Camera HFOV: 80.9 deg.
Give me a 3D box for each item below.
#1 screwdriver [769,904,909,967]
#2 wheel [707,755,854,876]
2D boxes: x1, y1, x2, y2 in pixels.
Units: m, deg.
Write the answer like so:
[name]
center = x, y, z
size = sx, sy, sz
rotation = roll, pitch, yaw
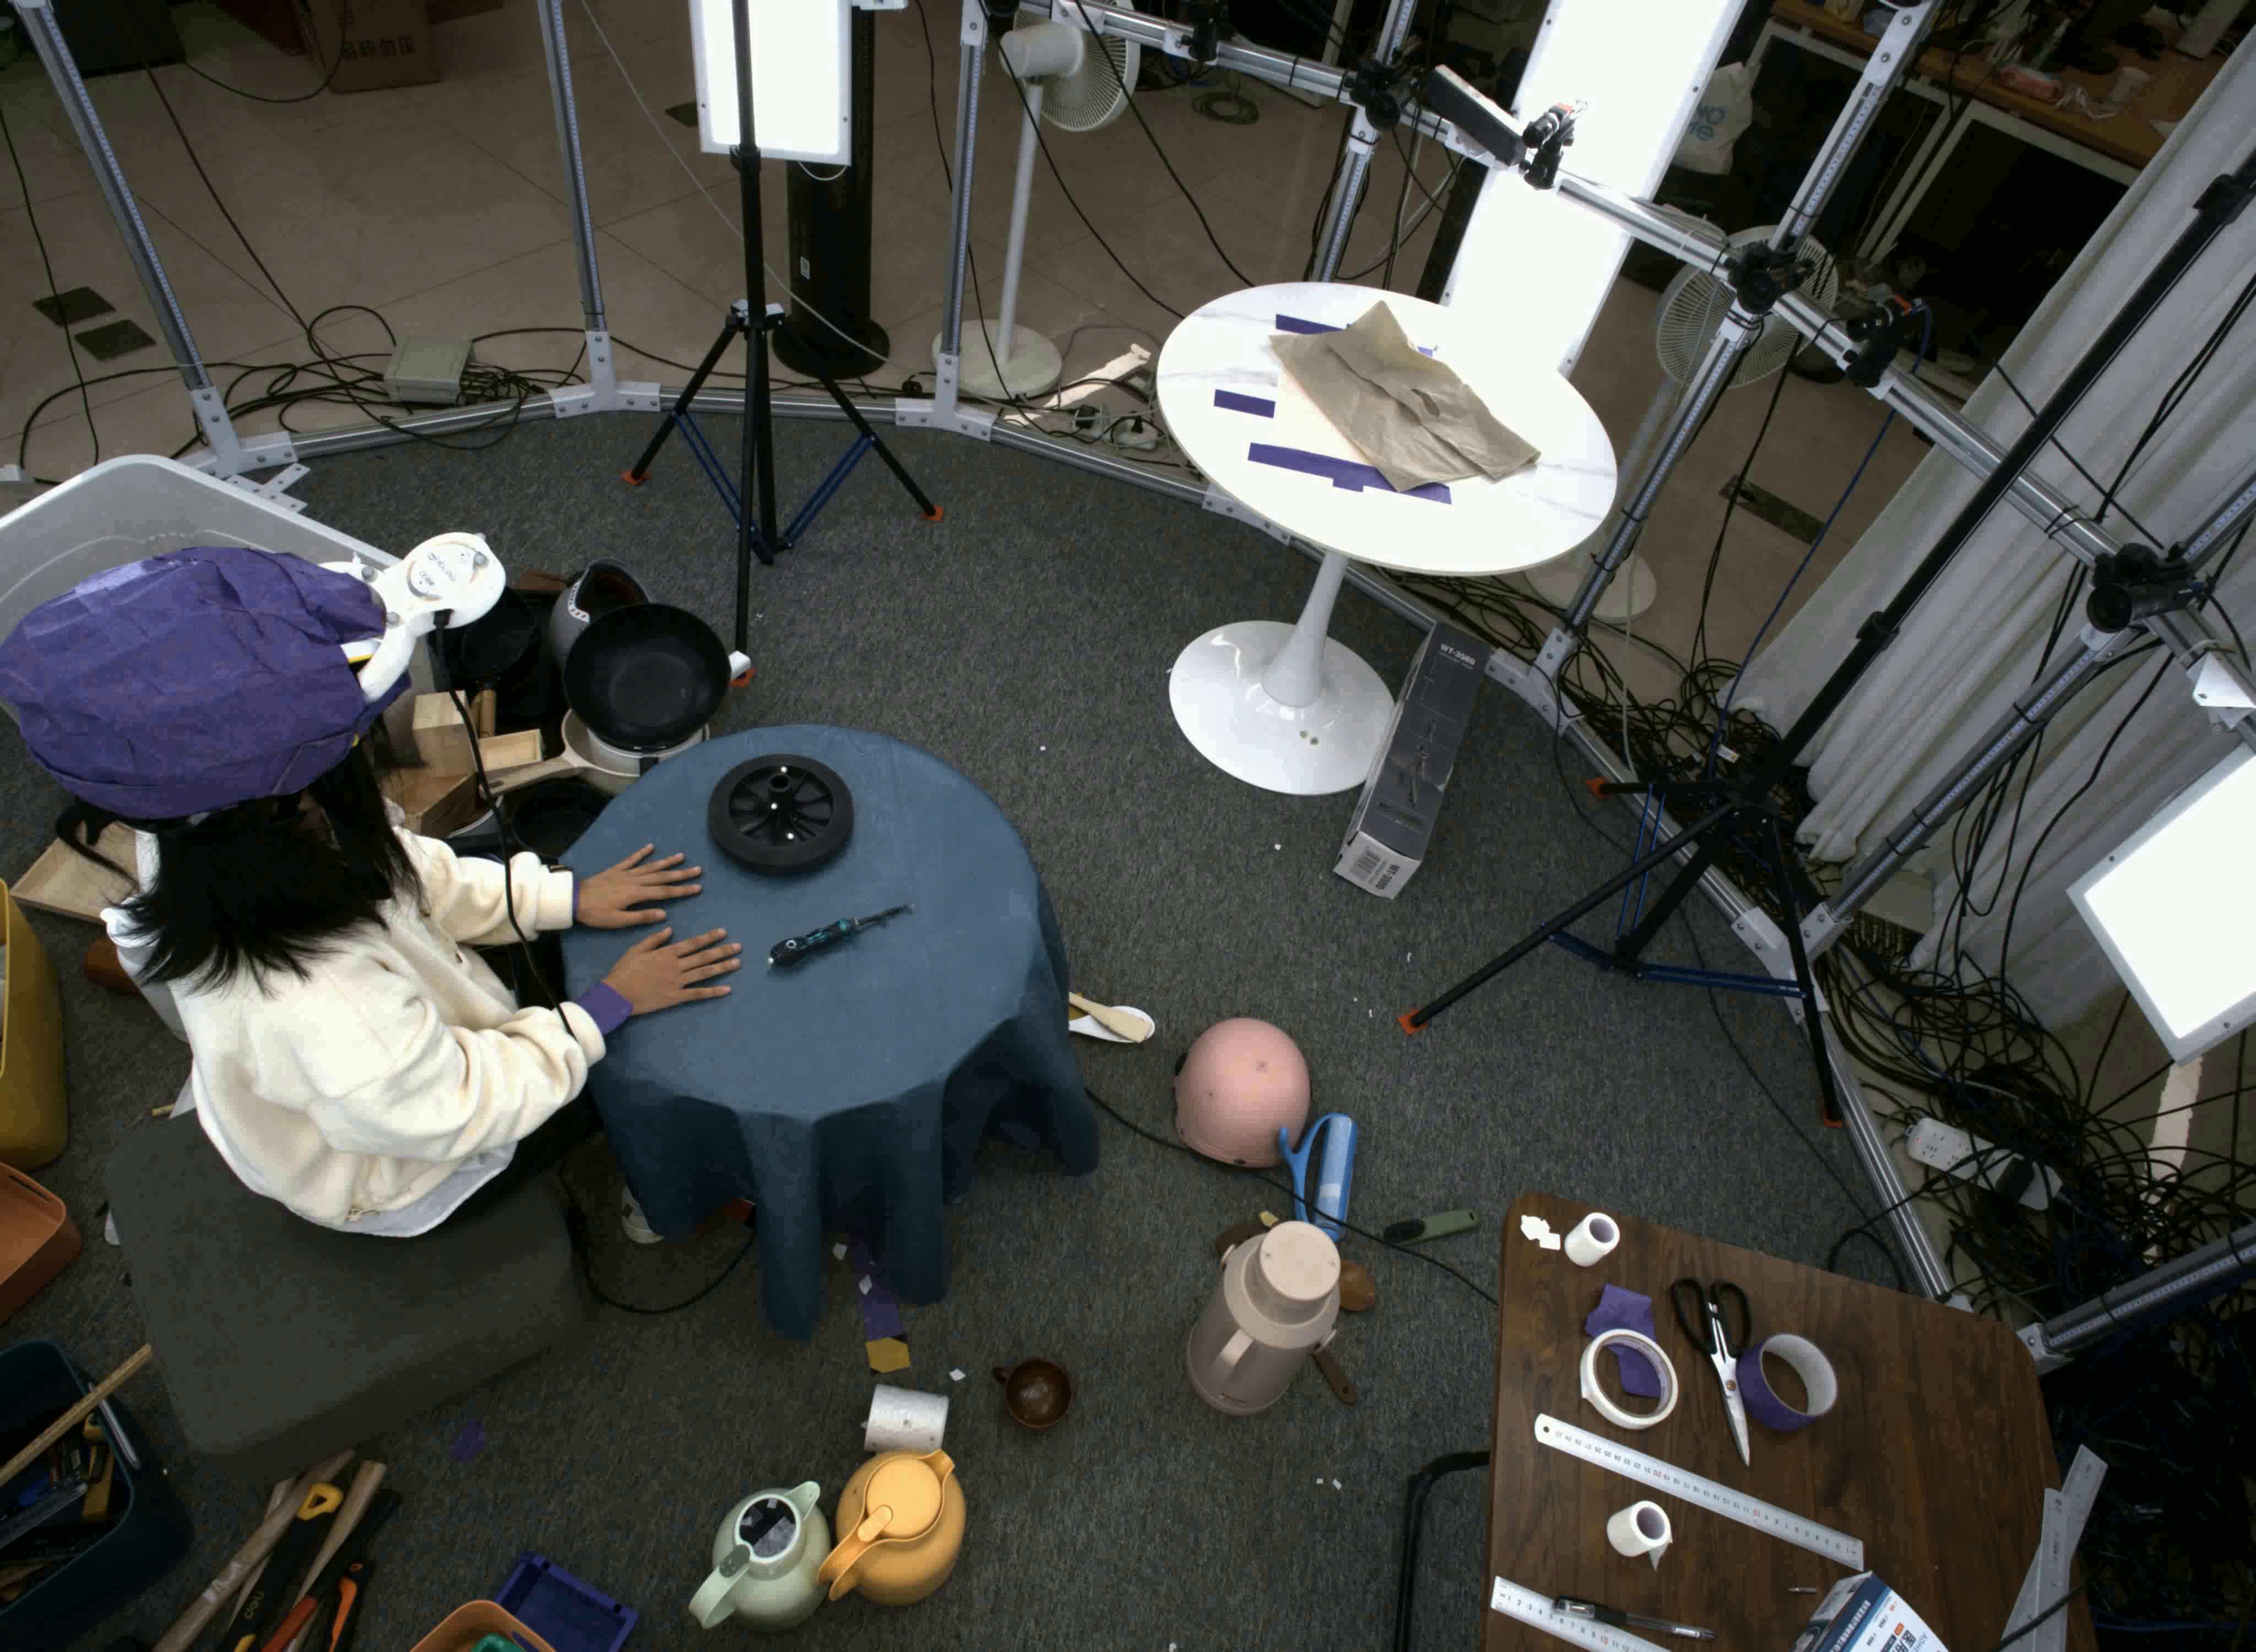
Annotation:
[screwdriver]
center = -0.358, 0.131, 1.626
size = 0.191, 0.034, 0.033
rotation = -21, 59, -33
[wheel]
center = -0.453, -0.031, 1.686
size = 0.189, 0.081, 0.184
rotation = 12, 52, -5
